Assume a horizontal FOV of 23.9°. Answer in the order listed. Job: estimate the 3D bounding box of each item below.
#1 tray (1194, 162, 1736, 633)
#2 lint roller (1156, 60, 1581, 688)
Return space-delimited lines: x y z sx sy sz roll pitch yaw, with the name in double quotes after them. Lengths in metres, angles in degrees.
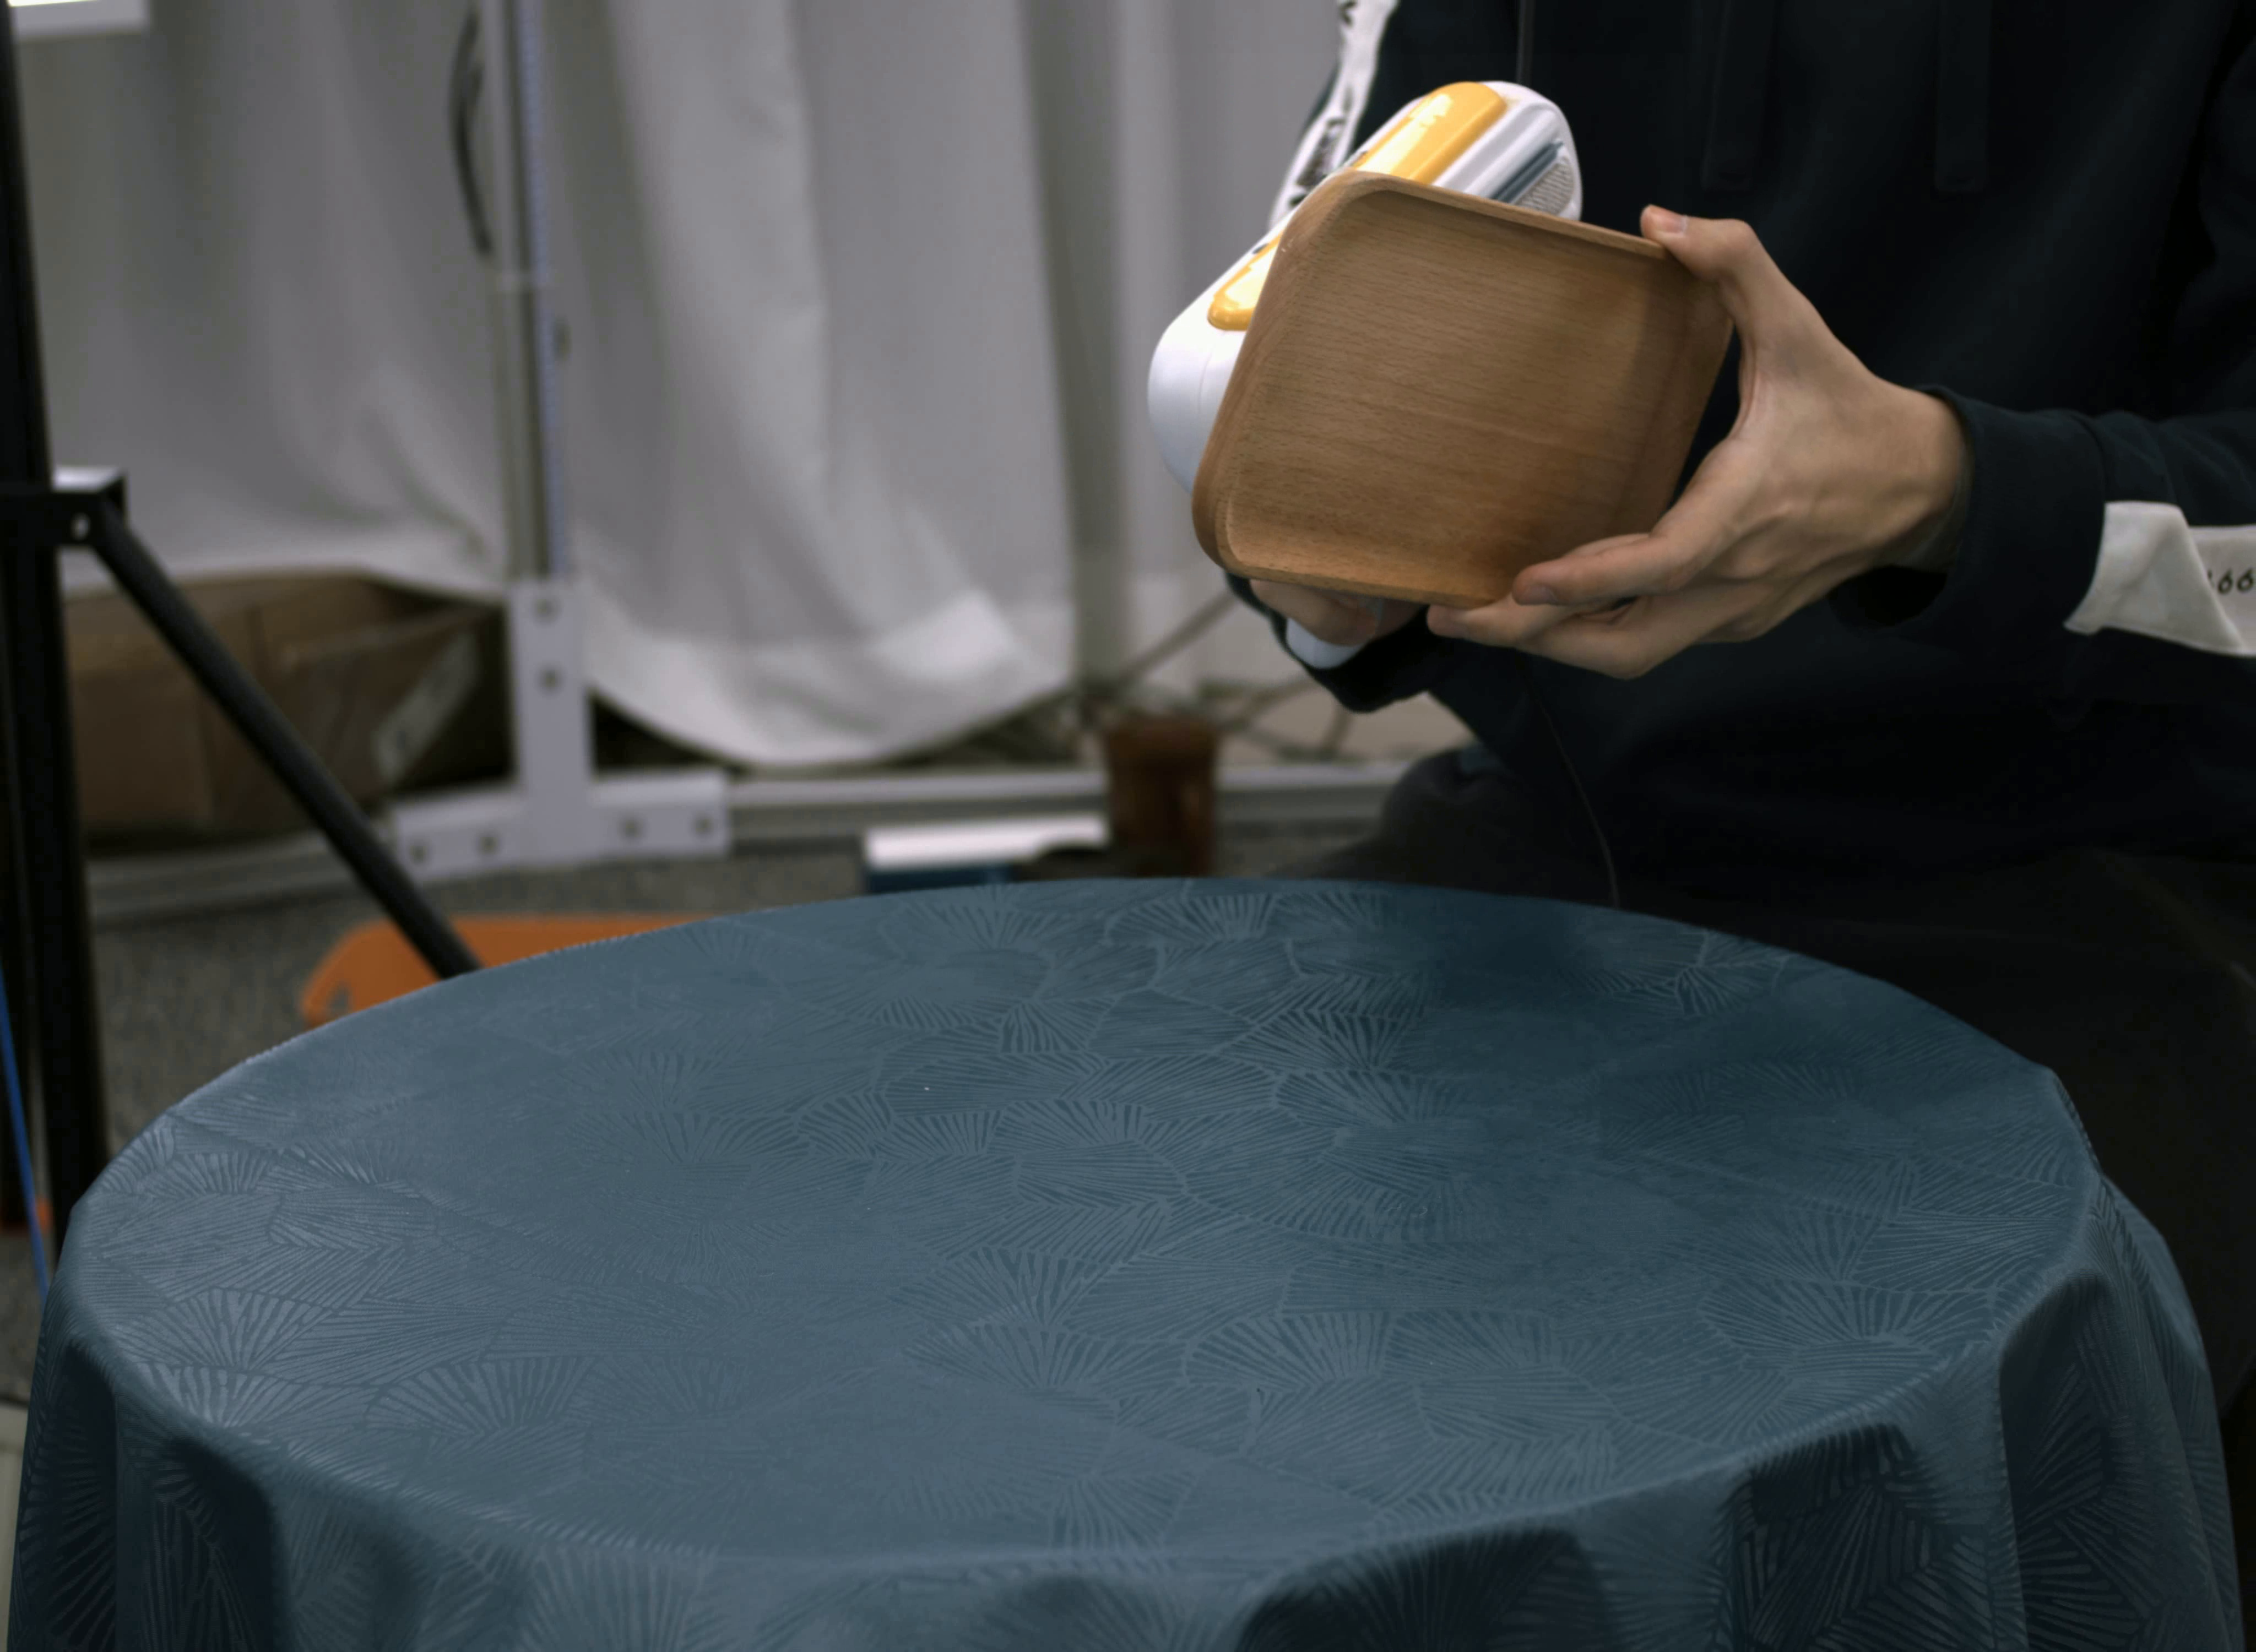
0.107 -0.129 1.642 0.023 0.131 0.244 30 13 33 "tray"
0.076 -0.125 1.697 0.075 0.191 0.191 15 40 28 "lint roller"
